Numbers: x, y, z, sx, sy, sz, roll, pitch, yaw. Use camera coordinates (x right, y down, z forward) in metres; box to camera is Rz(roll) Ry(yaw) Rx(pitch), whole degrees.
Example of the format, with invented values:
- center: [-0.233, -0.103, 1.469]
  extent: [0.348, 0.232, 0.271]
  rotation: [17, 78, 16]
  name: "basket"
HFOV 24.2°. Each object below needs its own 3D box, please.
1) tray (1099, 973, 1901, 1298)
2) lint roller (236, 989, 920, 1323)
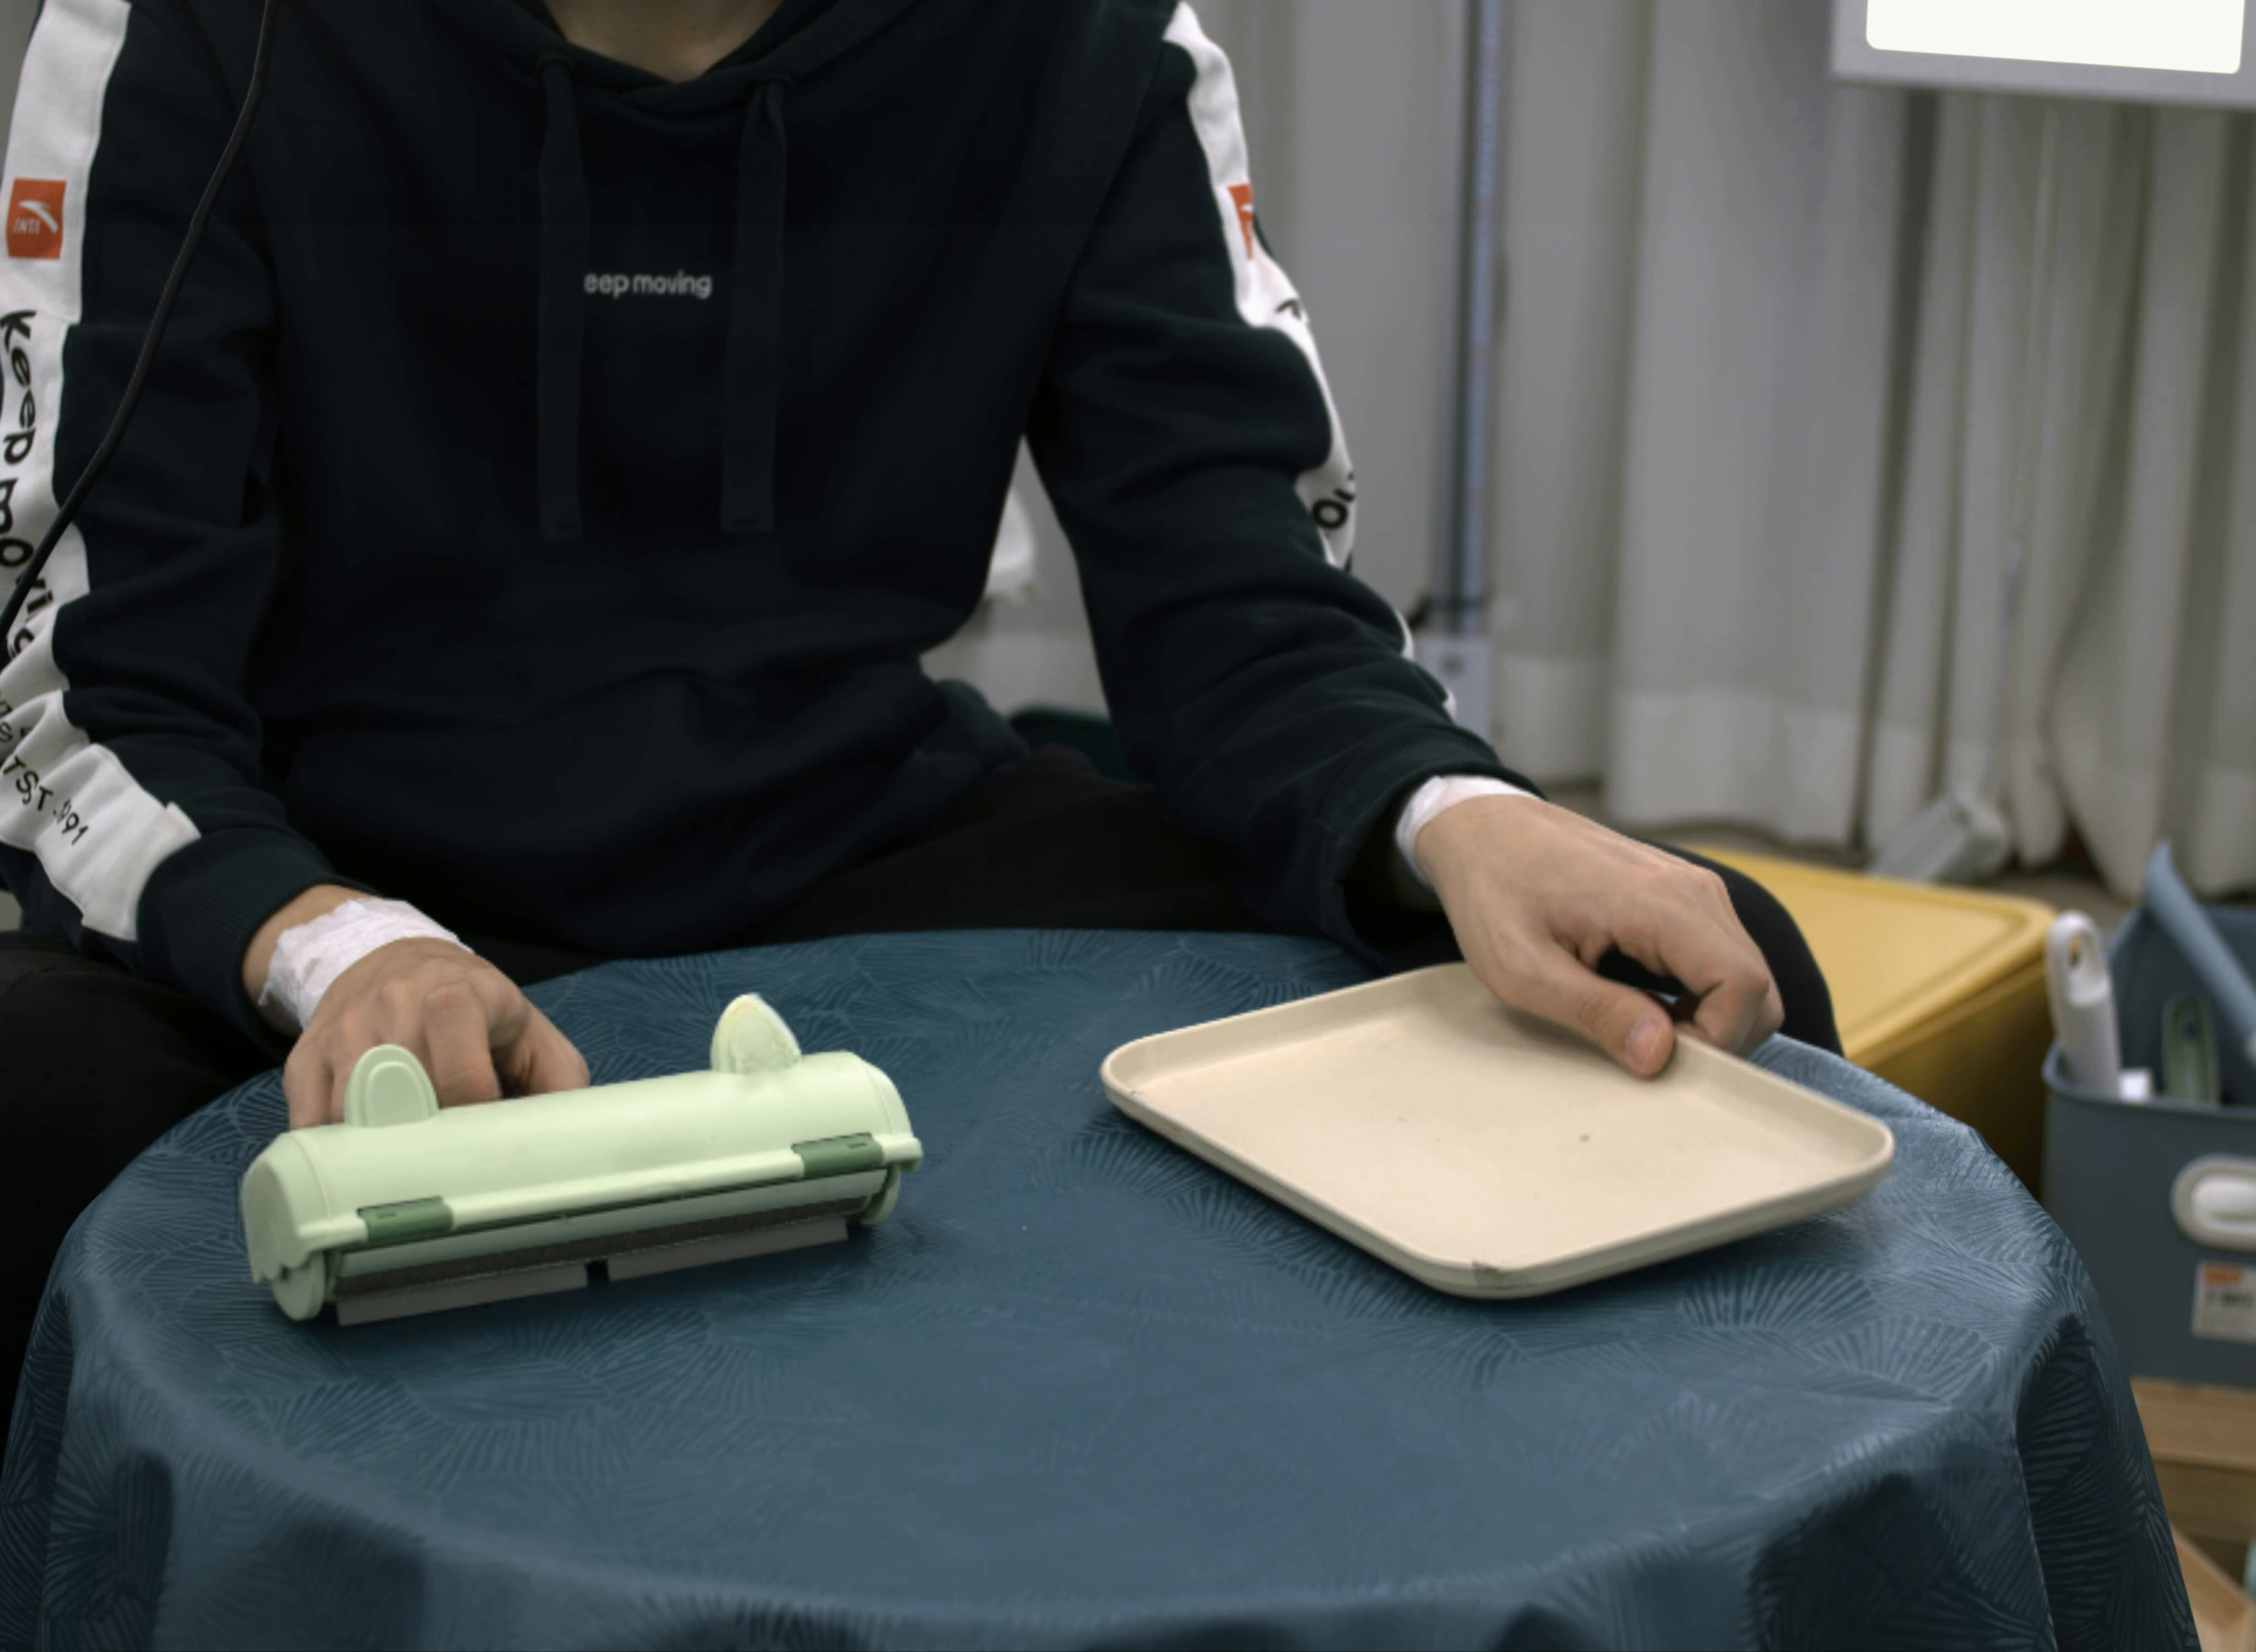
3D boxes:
- center: [0.112, 0.095, 1.642]
  extent: [0.172, 0.017, 0.236]
  rotation: [-11, 19, -29]
  name: "tray"
- center: [-0.186, 0.080, 1.581]
  extent: [0.199, 0.083, 0.181]
  rotation: [-8, 22, -27]
  name: "lint roller"
